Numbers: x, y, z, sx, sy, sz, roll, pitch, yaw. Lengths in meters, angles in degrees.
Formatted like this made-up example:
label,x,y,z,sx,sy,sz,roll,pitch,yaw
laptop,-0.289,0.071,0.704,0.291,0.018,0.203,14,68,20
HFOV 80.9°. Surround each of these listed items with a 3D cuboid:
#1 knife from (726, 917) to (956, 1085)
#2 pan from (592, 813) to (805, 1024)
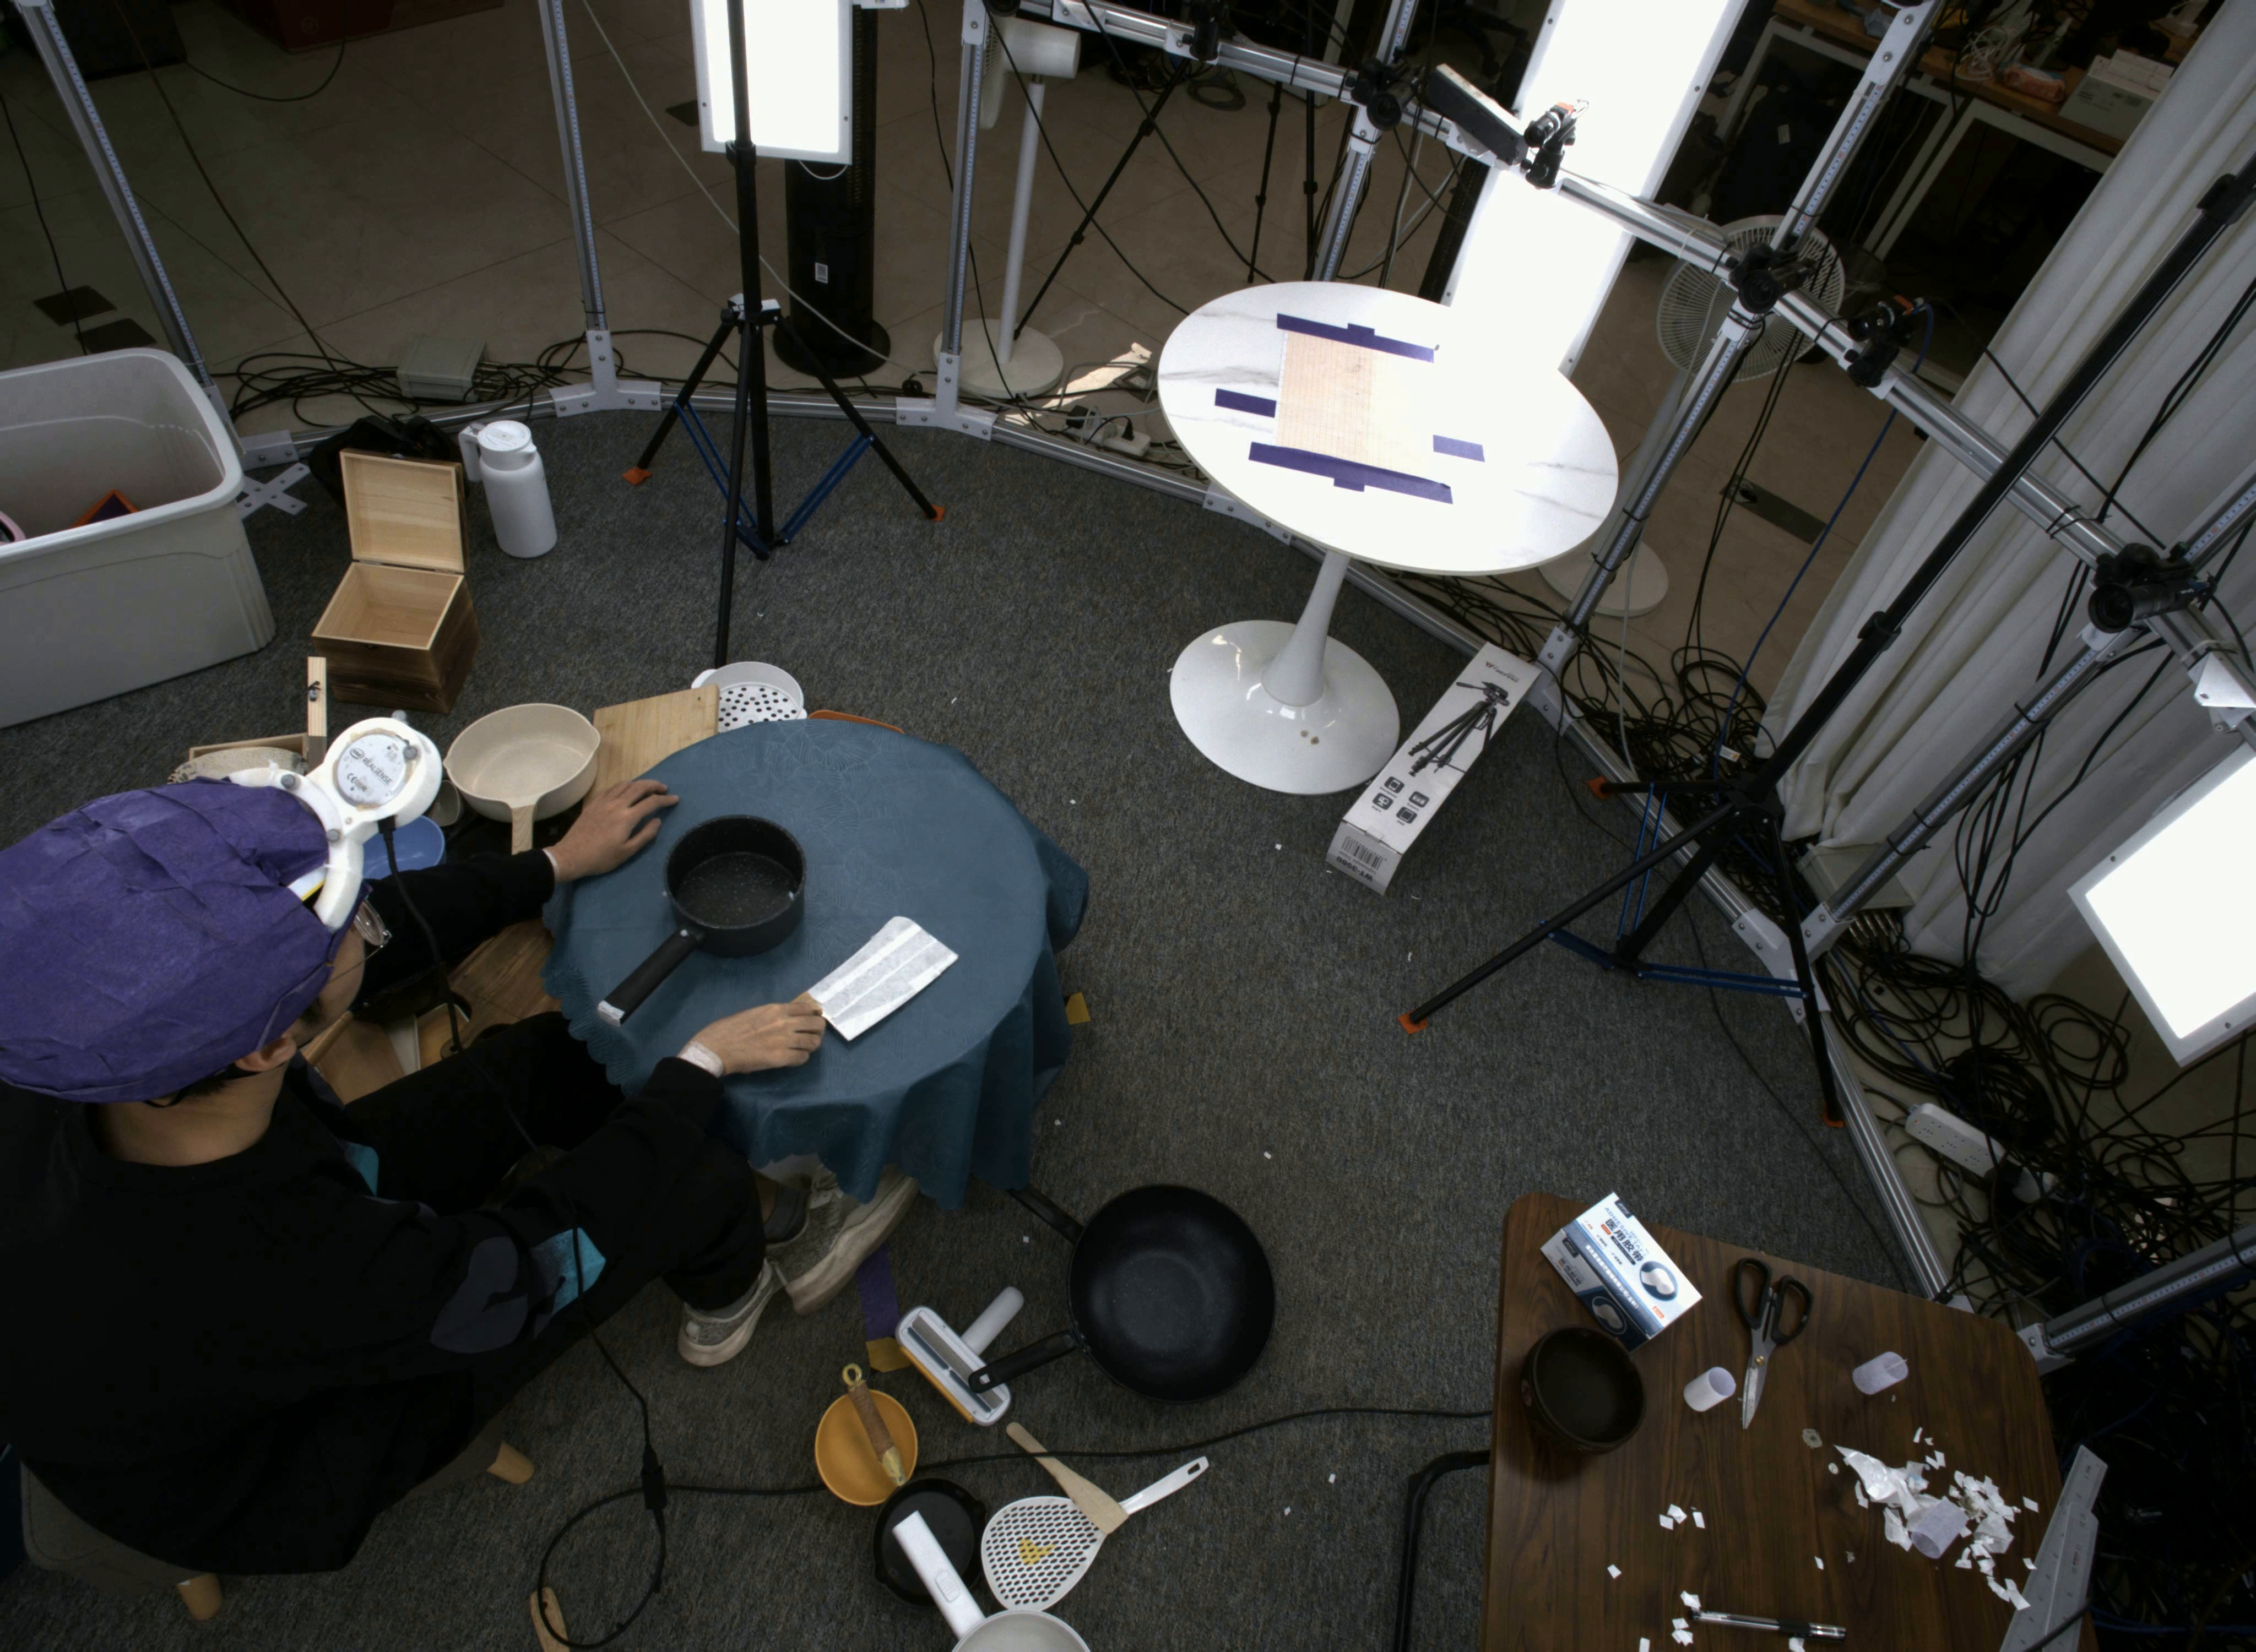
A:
label,x,y,z,sx,sy,sz,roll,pitch,yaw
knife,-0.347,0.207,1.561,0.111,0.022,0.316,41,50,17
pan,-0.518,0.124,1.541,0.169,0.088,0.327,27,51,10
